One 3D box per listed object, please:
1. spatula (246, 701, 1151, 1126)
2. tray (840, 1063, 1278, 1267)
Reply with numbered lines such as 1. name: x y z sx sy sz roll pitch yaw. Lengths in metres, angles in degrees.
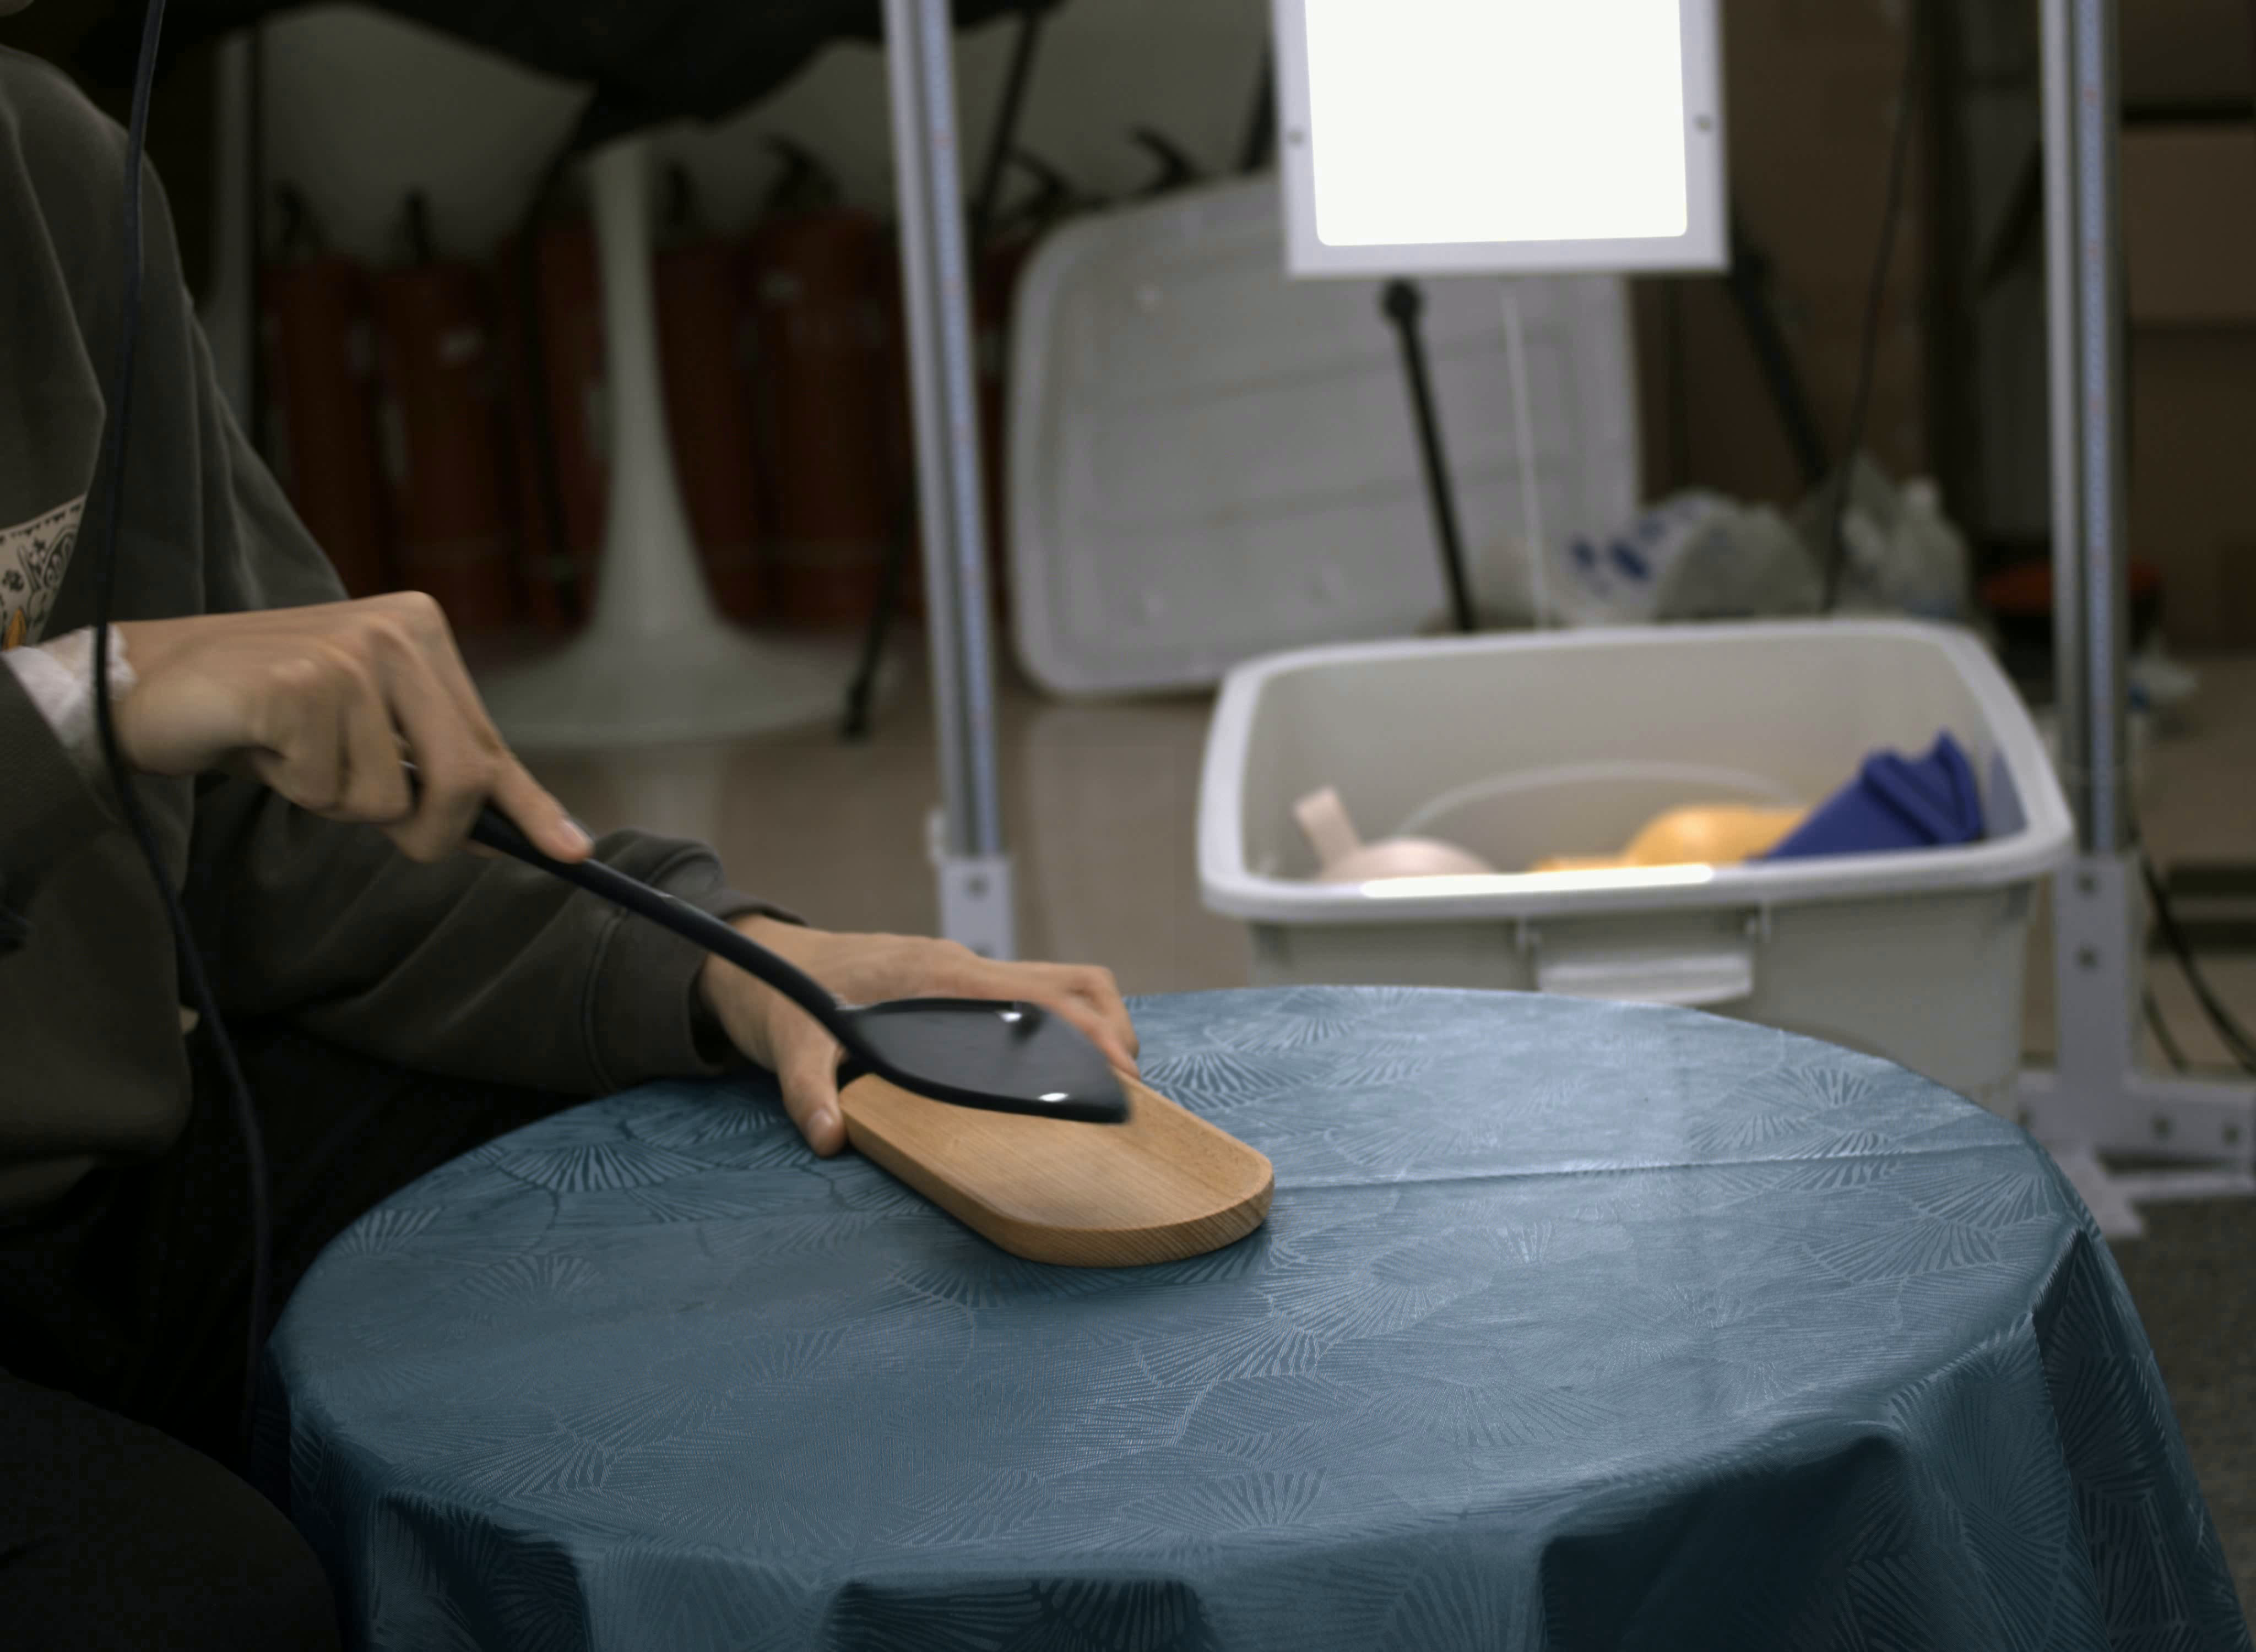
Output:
1. spatula: -0.139 0.025 1.802 0.322 0.040 0.100 29 10 -19
2. tray: -0.026 0.115 1.919 0.100 0.020 0.234 -12 17 -21
